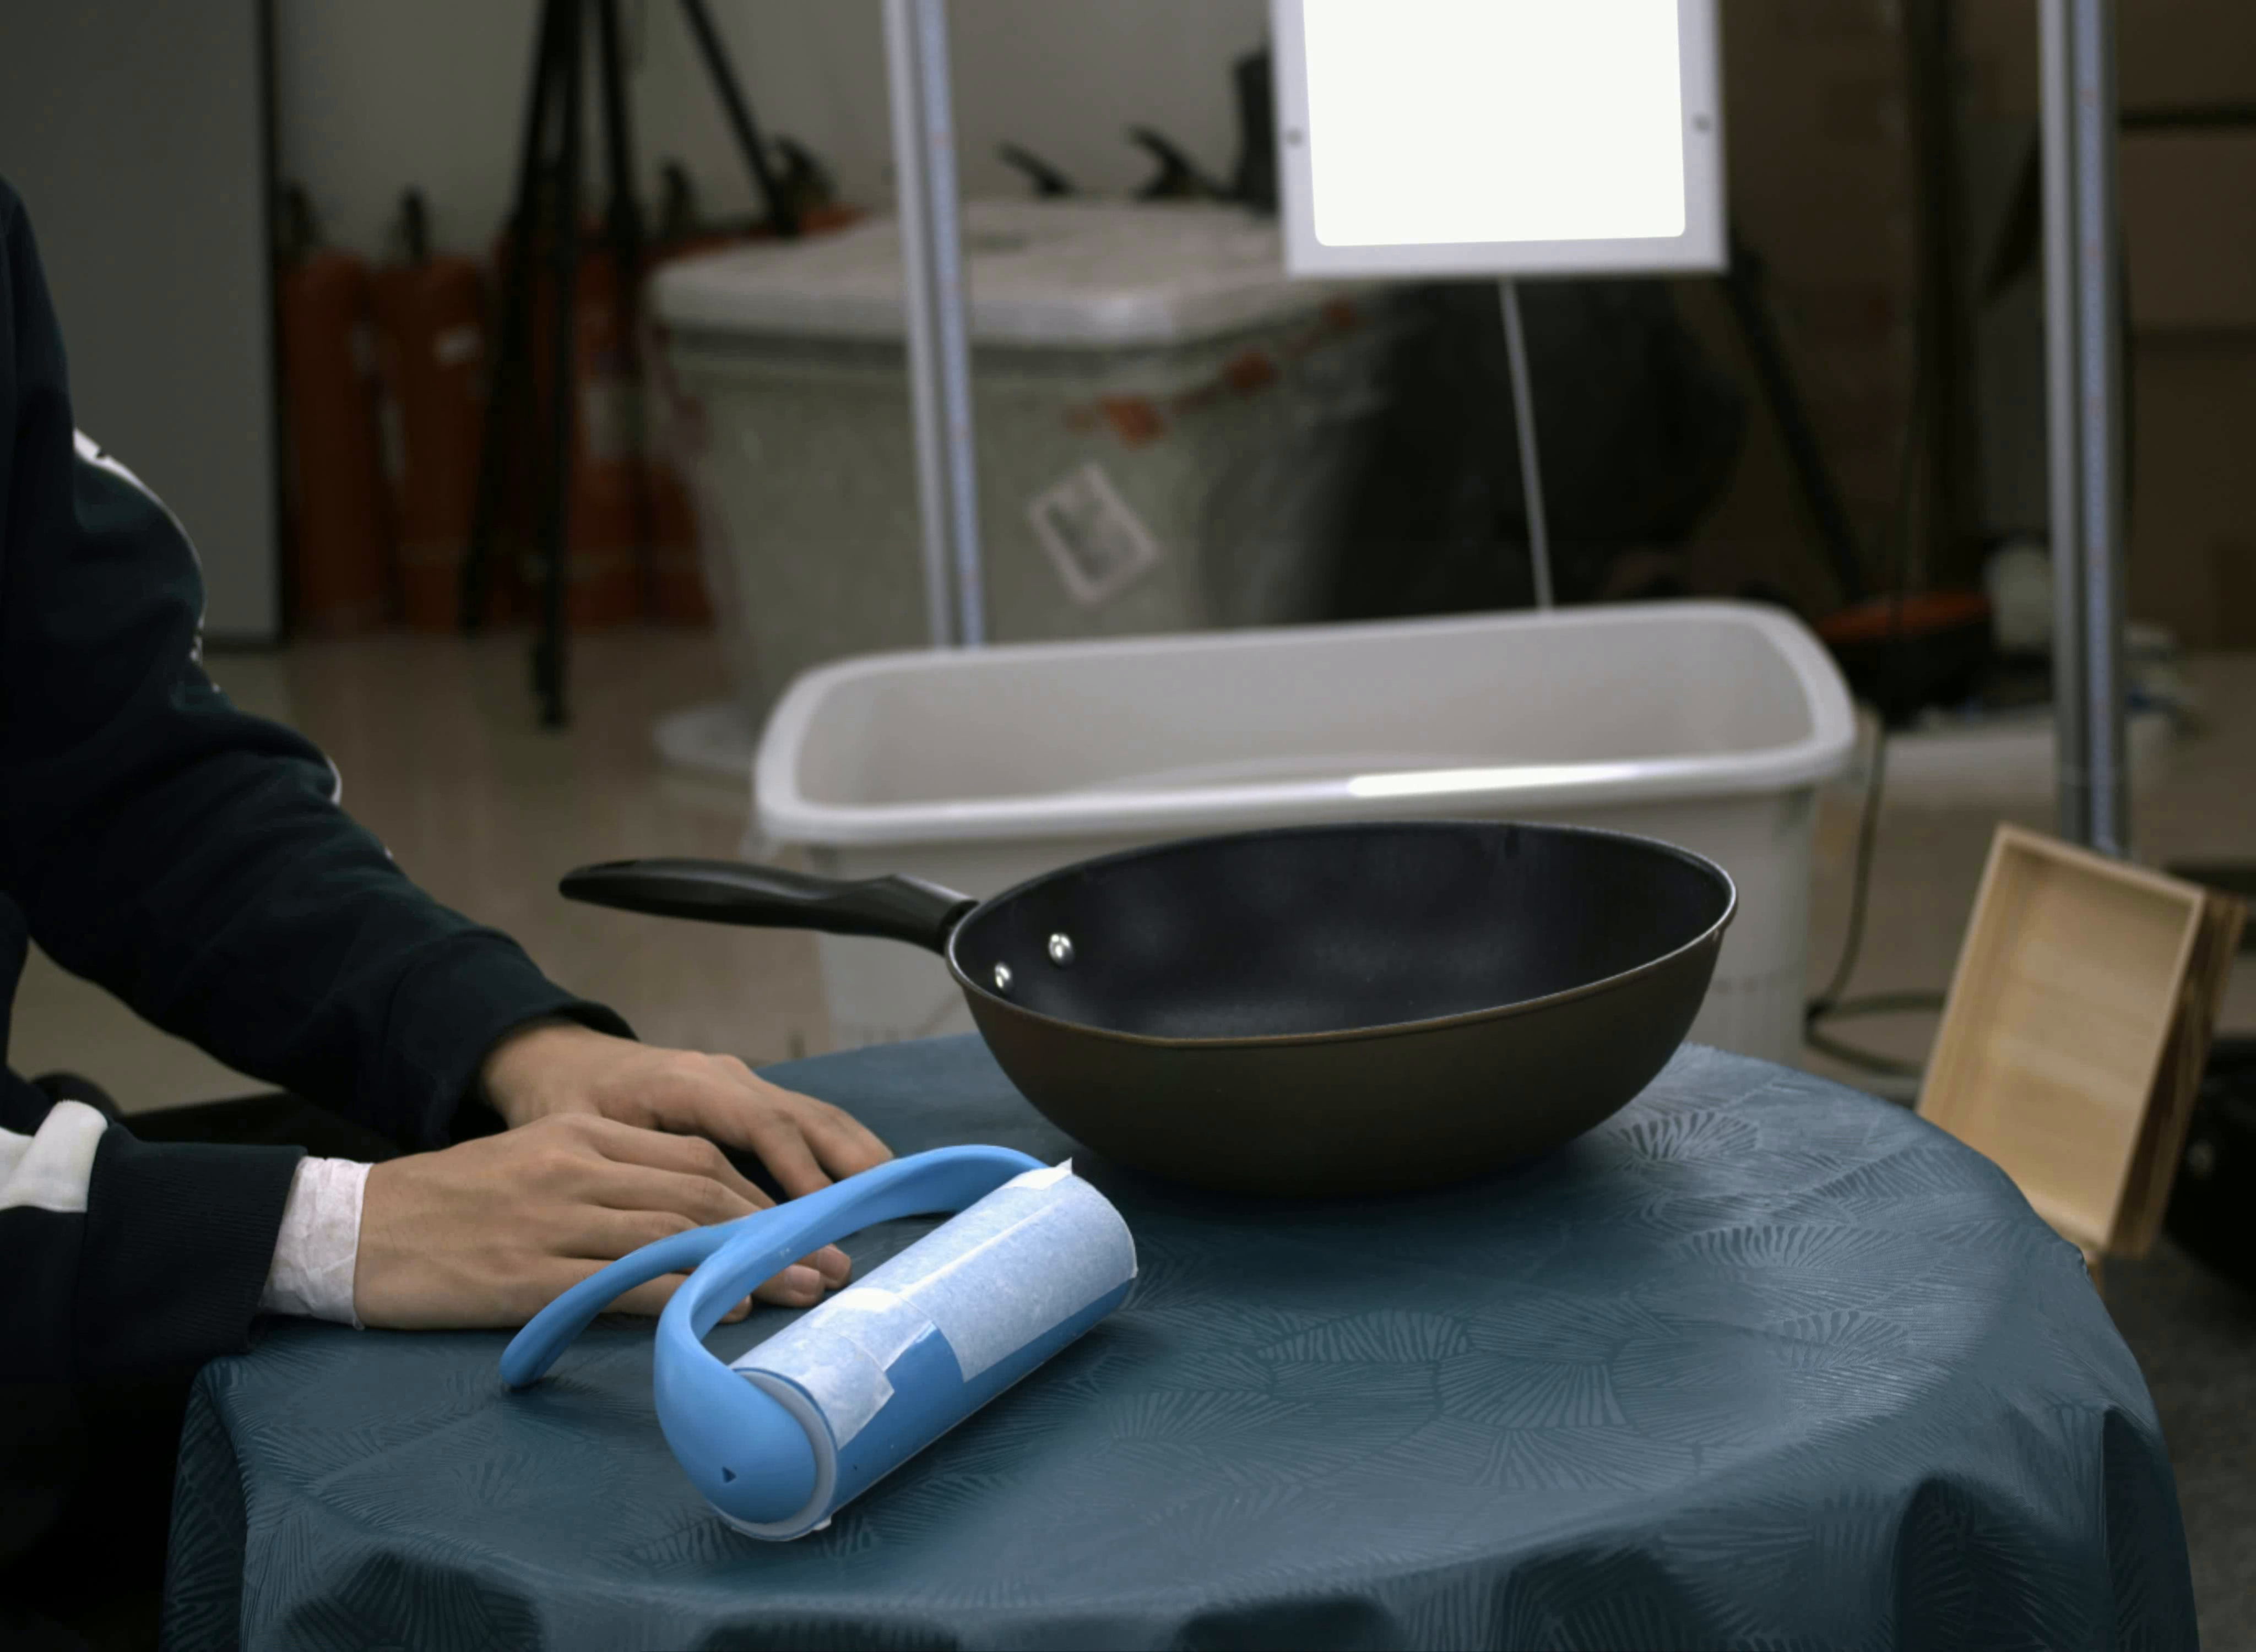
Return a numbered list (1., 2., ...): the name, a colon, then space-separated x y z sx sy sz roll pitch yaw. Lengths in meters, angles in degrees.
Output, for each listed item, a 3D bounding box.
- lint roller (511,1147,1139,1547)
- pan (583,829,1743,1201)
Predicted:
1. lint roller: -0.115 0.156 1.702 0.183 0.068 0.224 2 18 24
2. pan: -0.002 0.067 1.970 0.472 0.087 0.281 2 15 31
